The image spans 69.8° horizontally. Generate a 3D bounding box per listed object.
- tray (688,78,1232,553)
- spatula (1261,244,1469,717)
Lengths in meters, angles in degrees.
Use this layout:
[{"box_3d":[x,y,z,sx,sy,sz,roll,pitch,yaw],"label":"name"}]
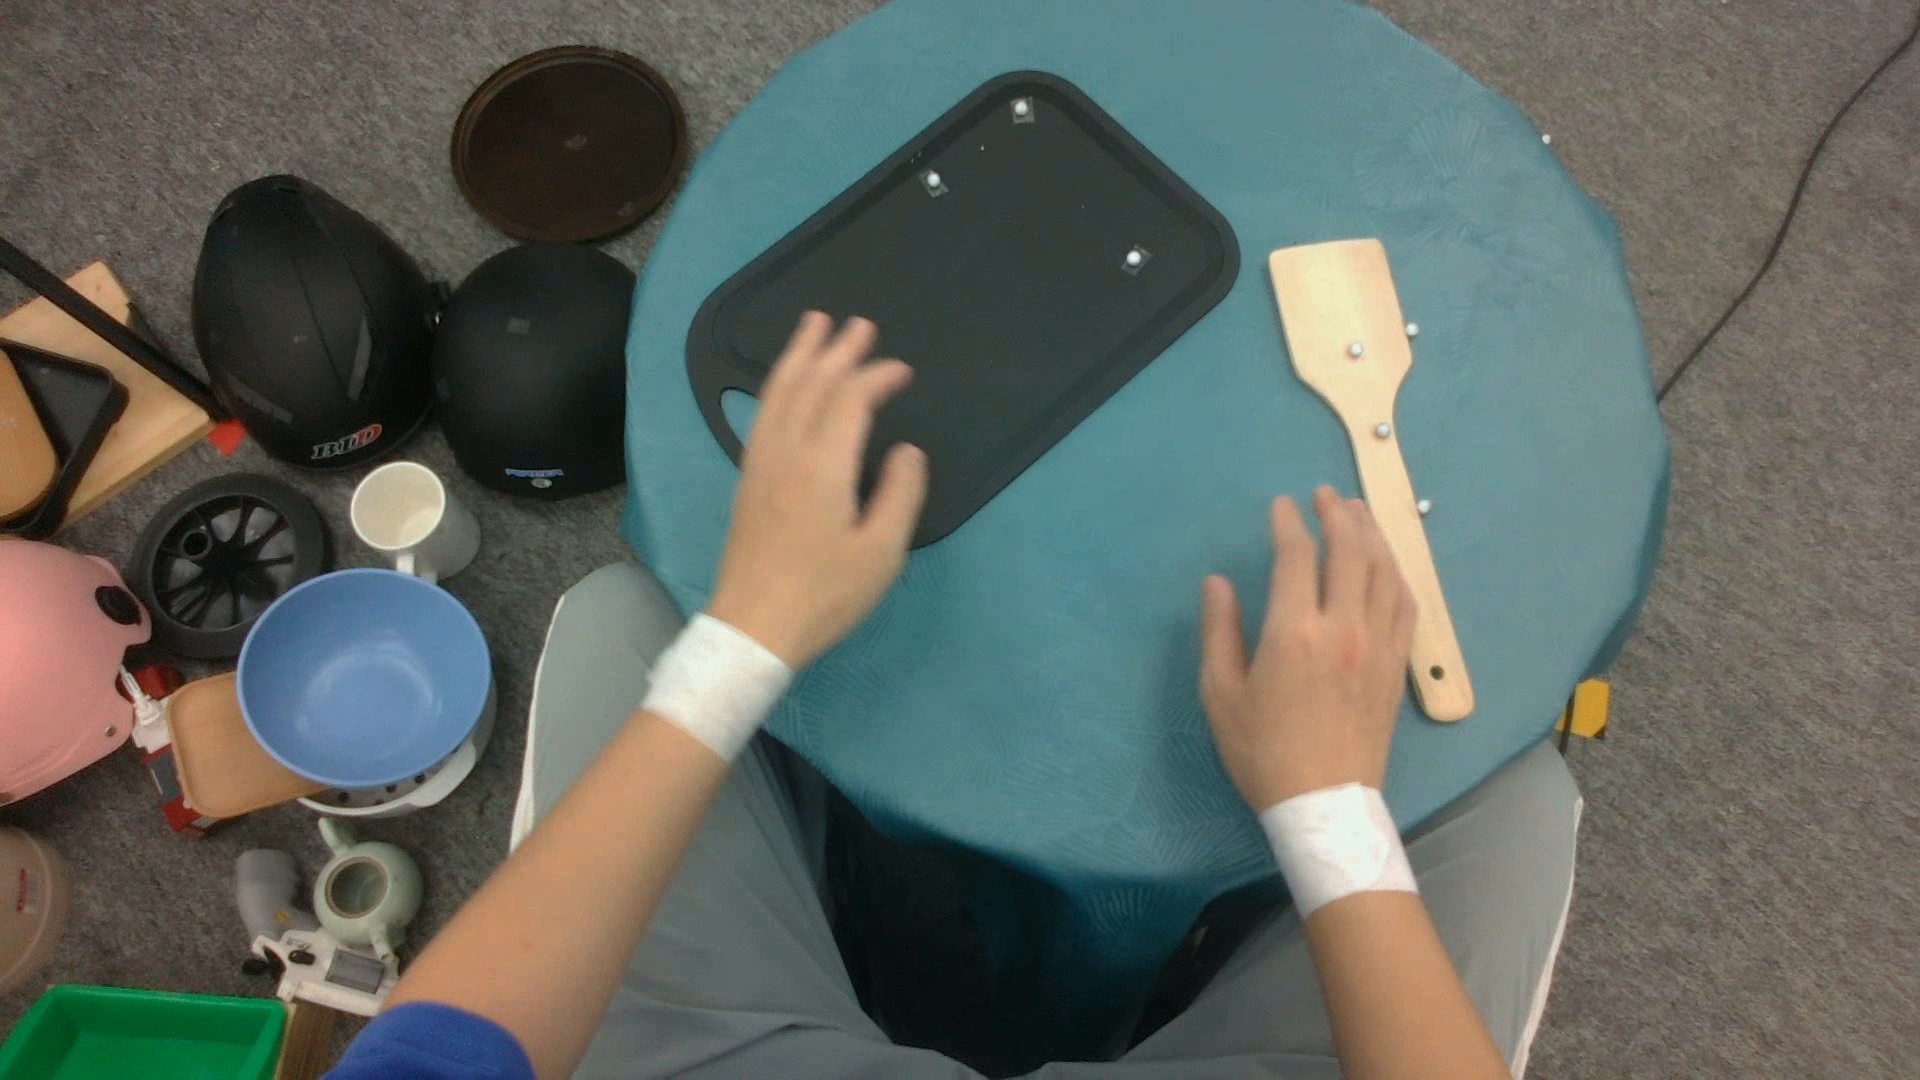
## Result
[{"box_3d":[-0.003,-0.140,0.828,0.326,0.010,0.211,-41,74,-13],"label":"tray"},{"box_3d":[0.240,-0.041,0.789,0.072,0.010,0.294,-8,70,-4],"label":"spatula"}]
